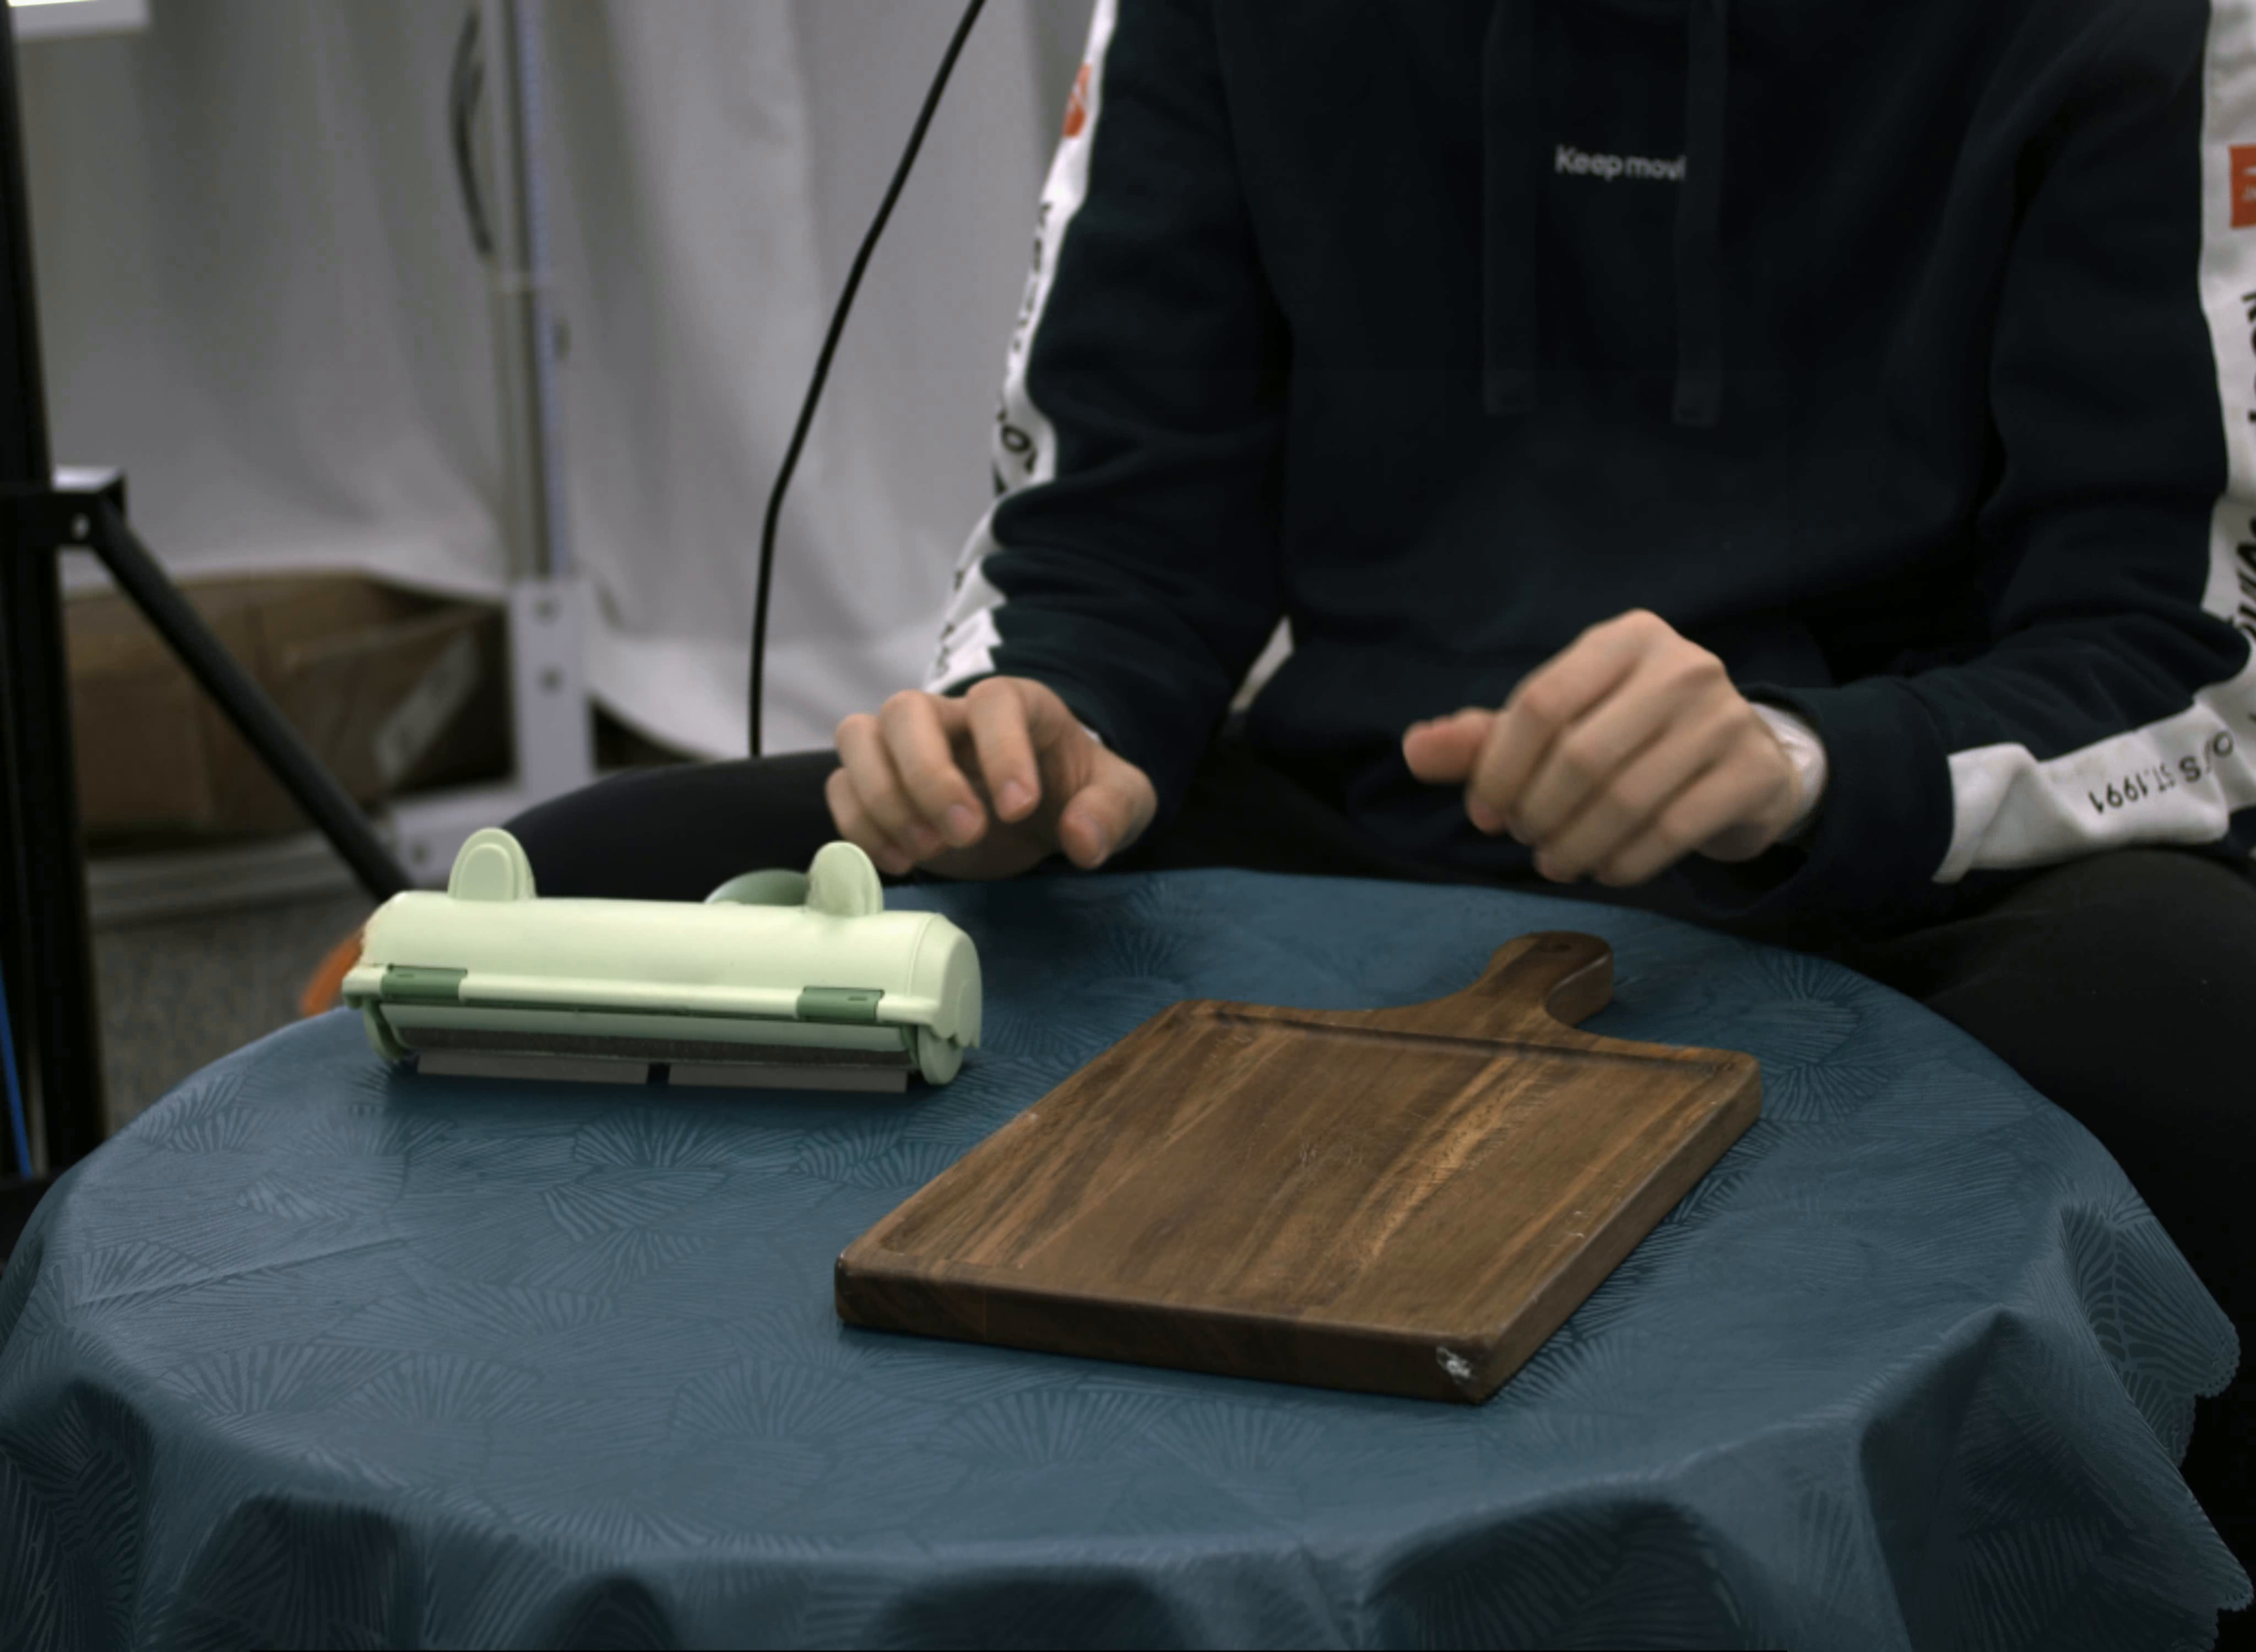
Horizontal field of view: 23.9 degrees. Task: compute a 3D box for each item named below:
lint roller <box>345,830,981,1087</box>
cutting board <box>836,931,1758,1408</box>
[{"bbox_3d":[-0.133,0.026,1.730,0.200,0.082,0.182,2,21,16],"label":"lint roller"},{"bbox_3d":[0.074,0.091,1.568,0.204,0.023,0.347,4,17,23],"label":"cutting board"}]
